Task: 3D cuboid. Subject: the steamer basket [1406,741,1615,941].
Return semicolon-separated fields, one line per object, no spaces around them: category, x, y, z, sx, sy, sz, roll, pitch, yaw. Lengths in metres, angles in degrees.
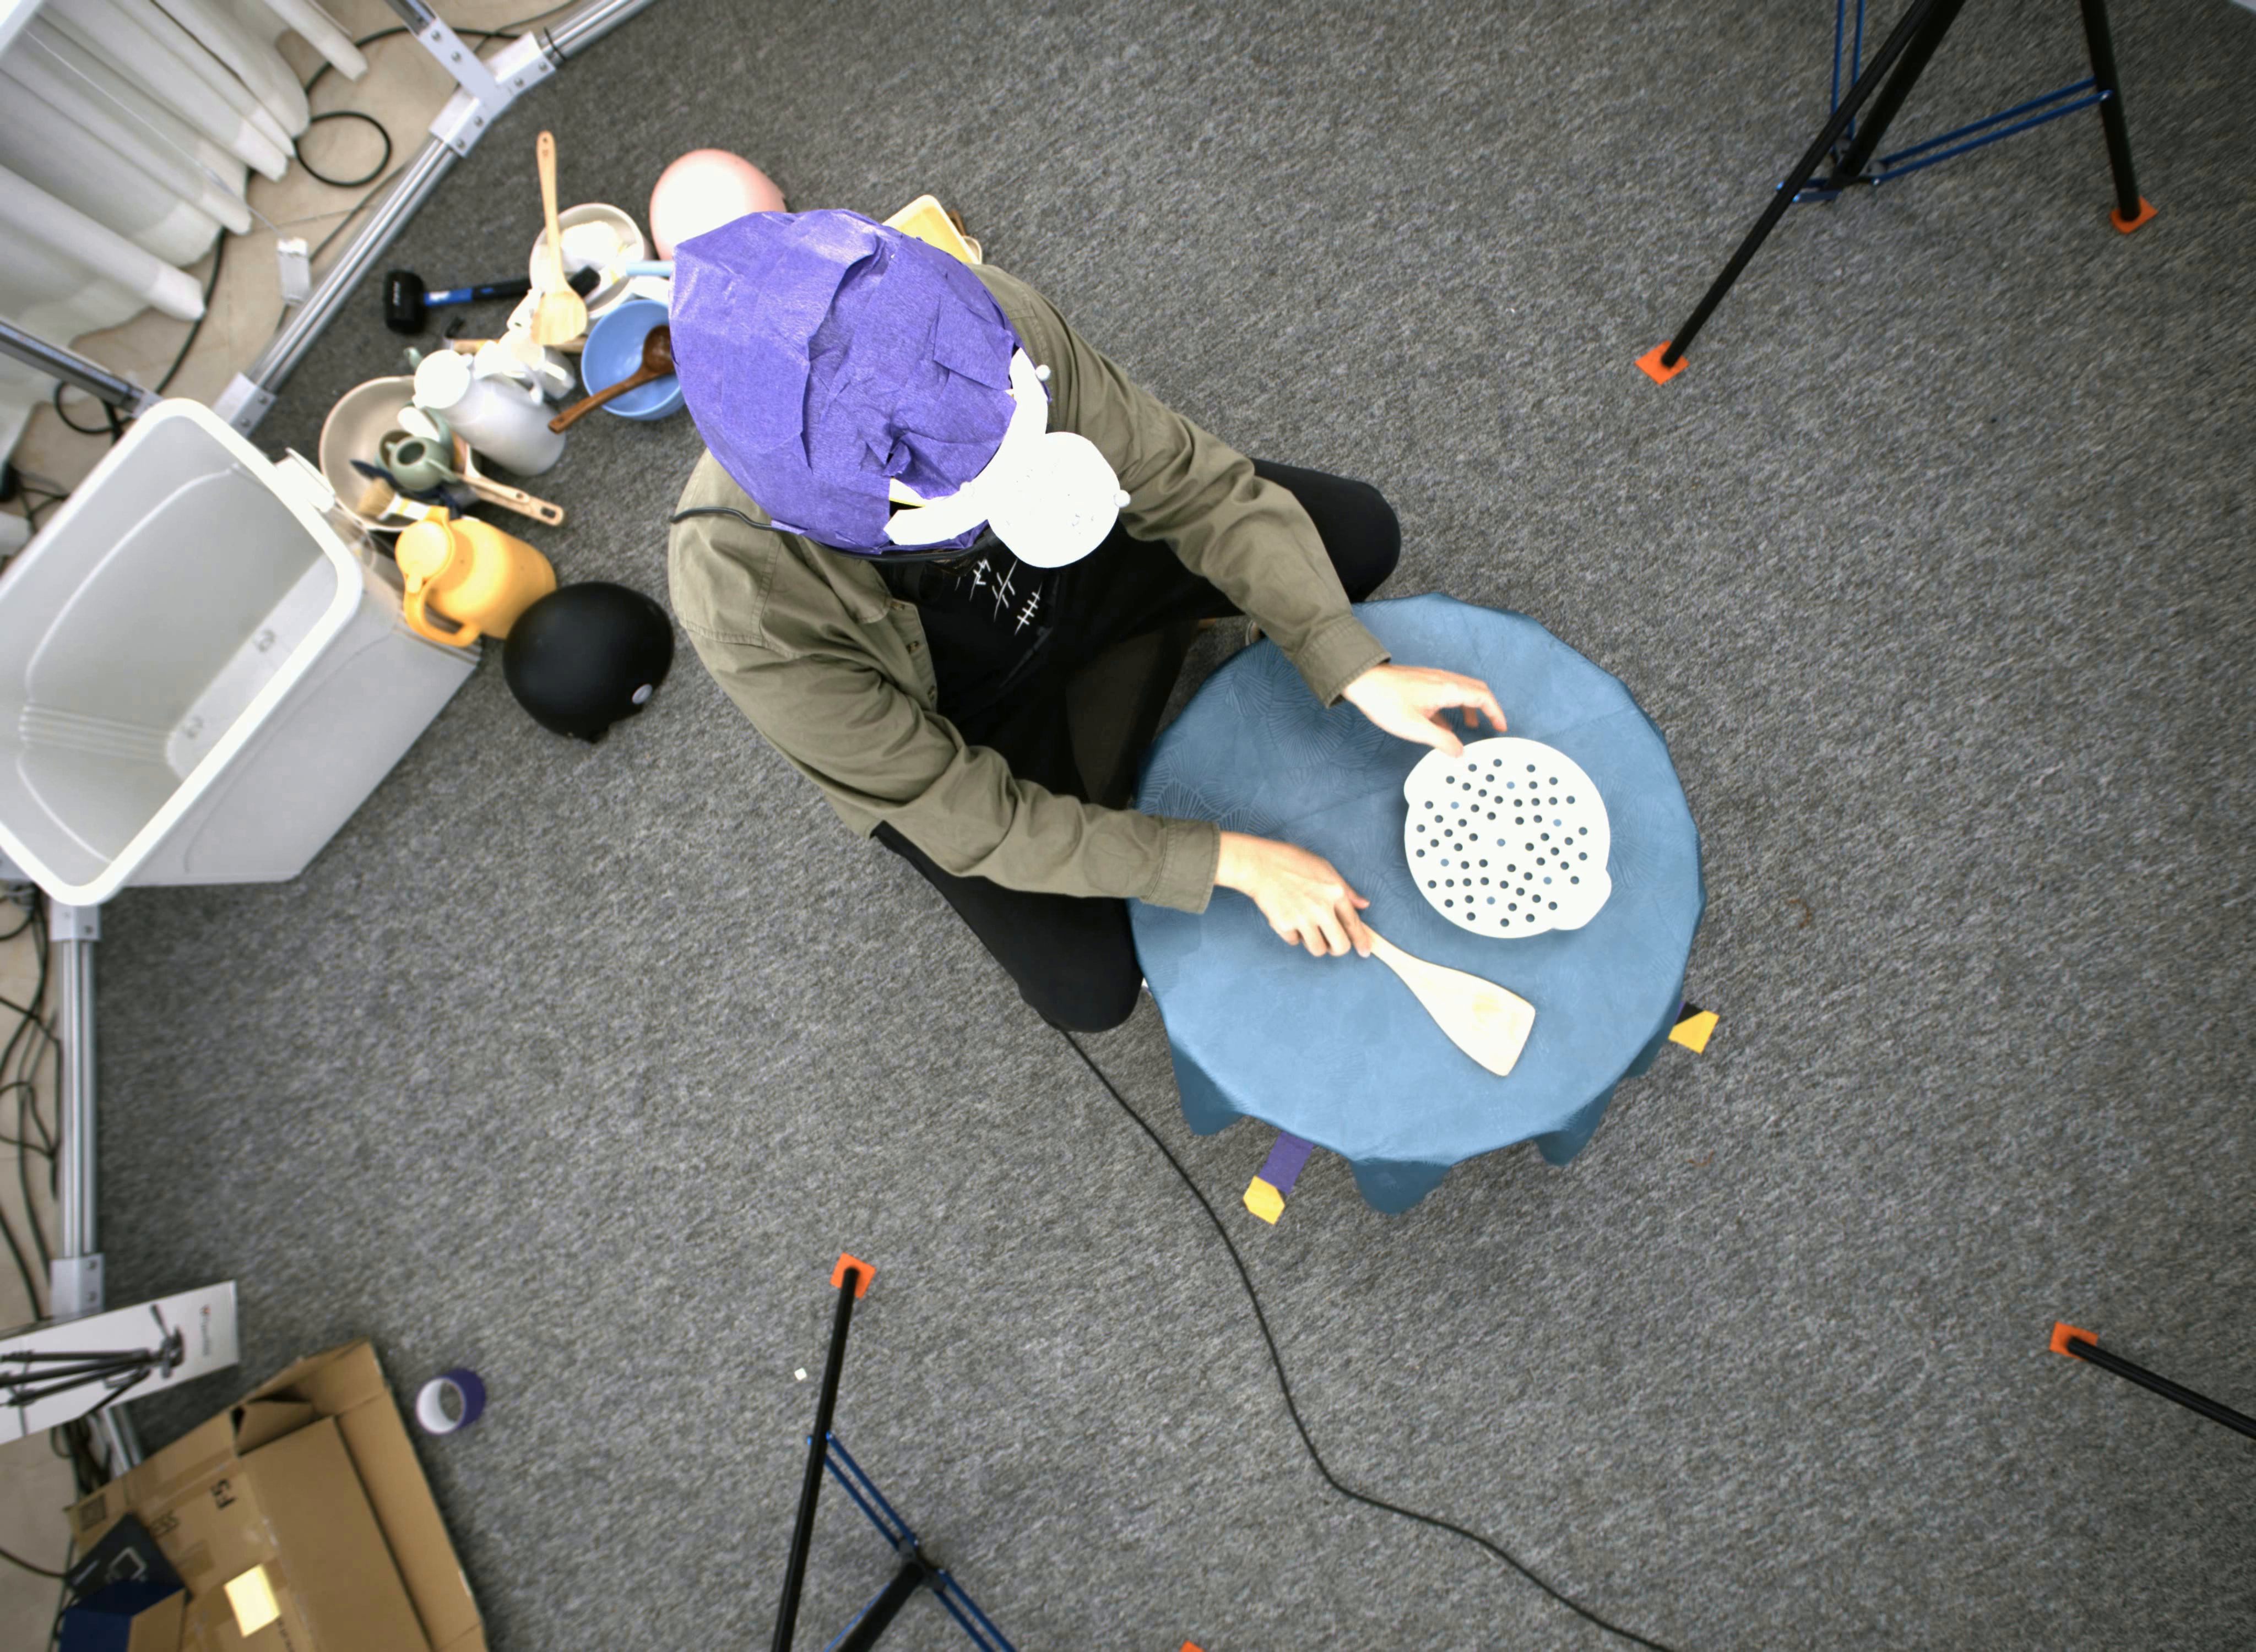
steamer basket;0.386;0.015;1.398;0.229;0.069;0.202;41;94;11

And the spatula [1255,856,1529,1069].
spatula;0.270;0.127;1.438;0.327;0.016;0.080;35;93;9
